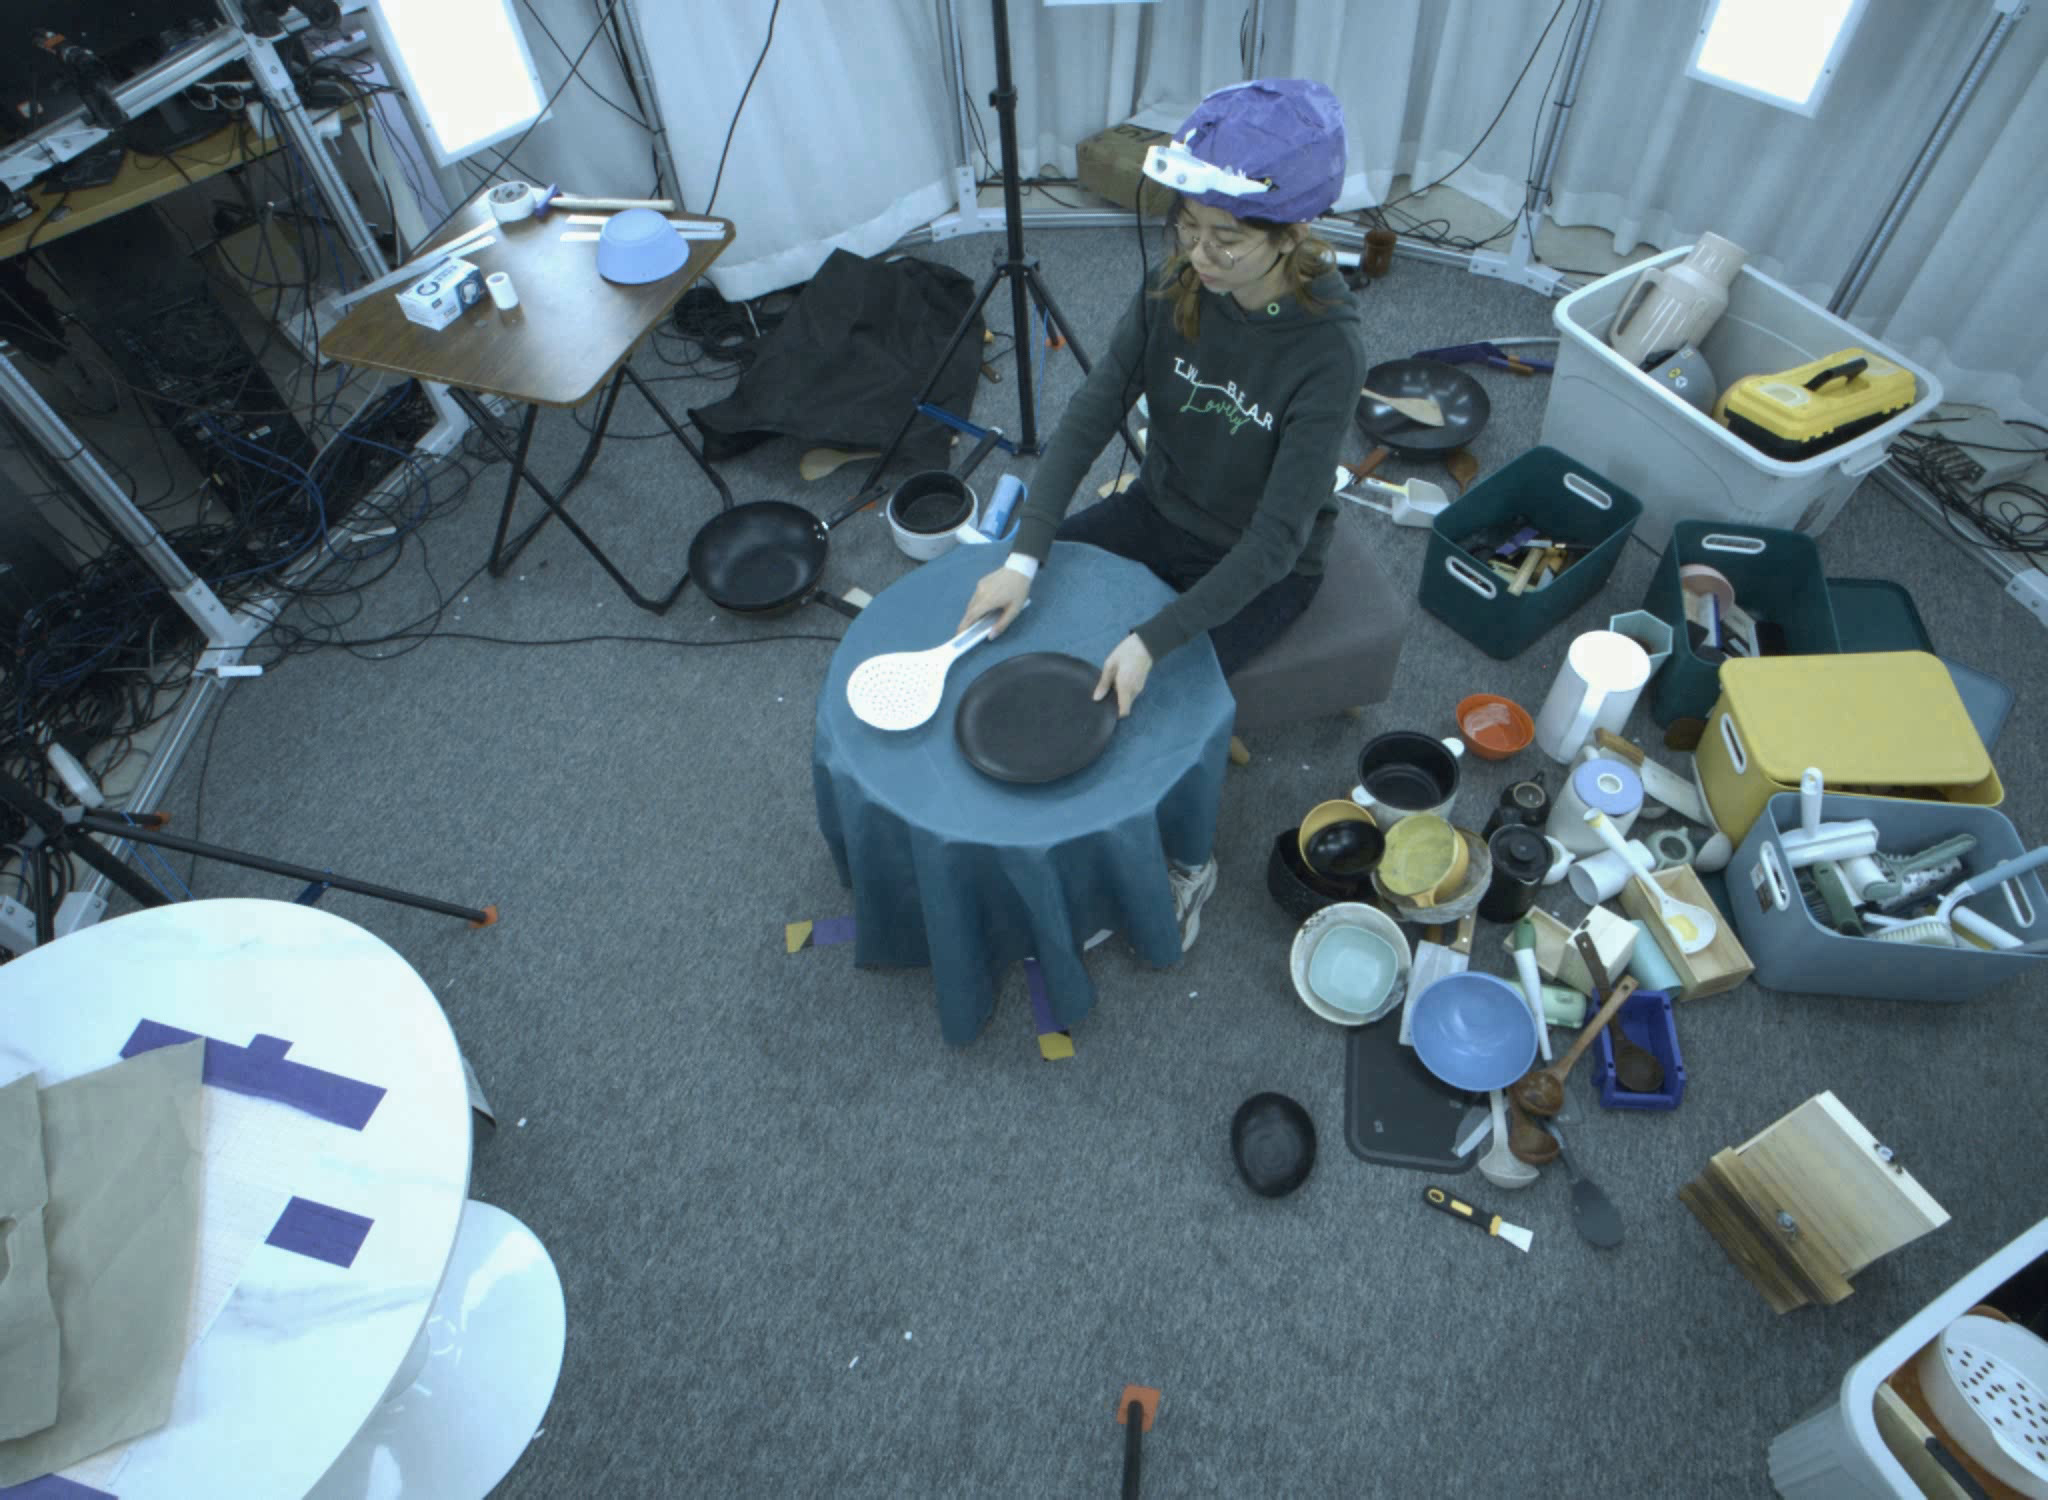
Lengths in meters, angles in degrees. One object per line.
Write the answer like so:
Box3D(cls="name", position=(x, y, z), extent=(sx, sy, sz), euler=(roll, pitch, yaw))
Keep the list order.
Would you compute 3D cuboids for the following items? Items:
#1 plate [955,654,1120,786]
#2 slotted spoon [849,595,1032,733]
Box3D(cls="plate", position=(0.021, -0.042, 1.802), extent=(0.243, 0.024, 0.242), euler=(-4, 54, 6))
Box3D(cls="slotted spoon", position=(-0.117, -0.140, 1.869), extent=(0.134, 0.046, 0.352), euler=(42, 66, 15))
